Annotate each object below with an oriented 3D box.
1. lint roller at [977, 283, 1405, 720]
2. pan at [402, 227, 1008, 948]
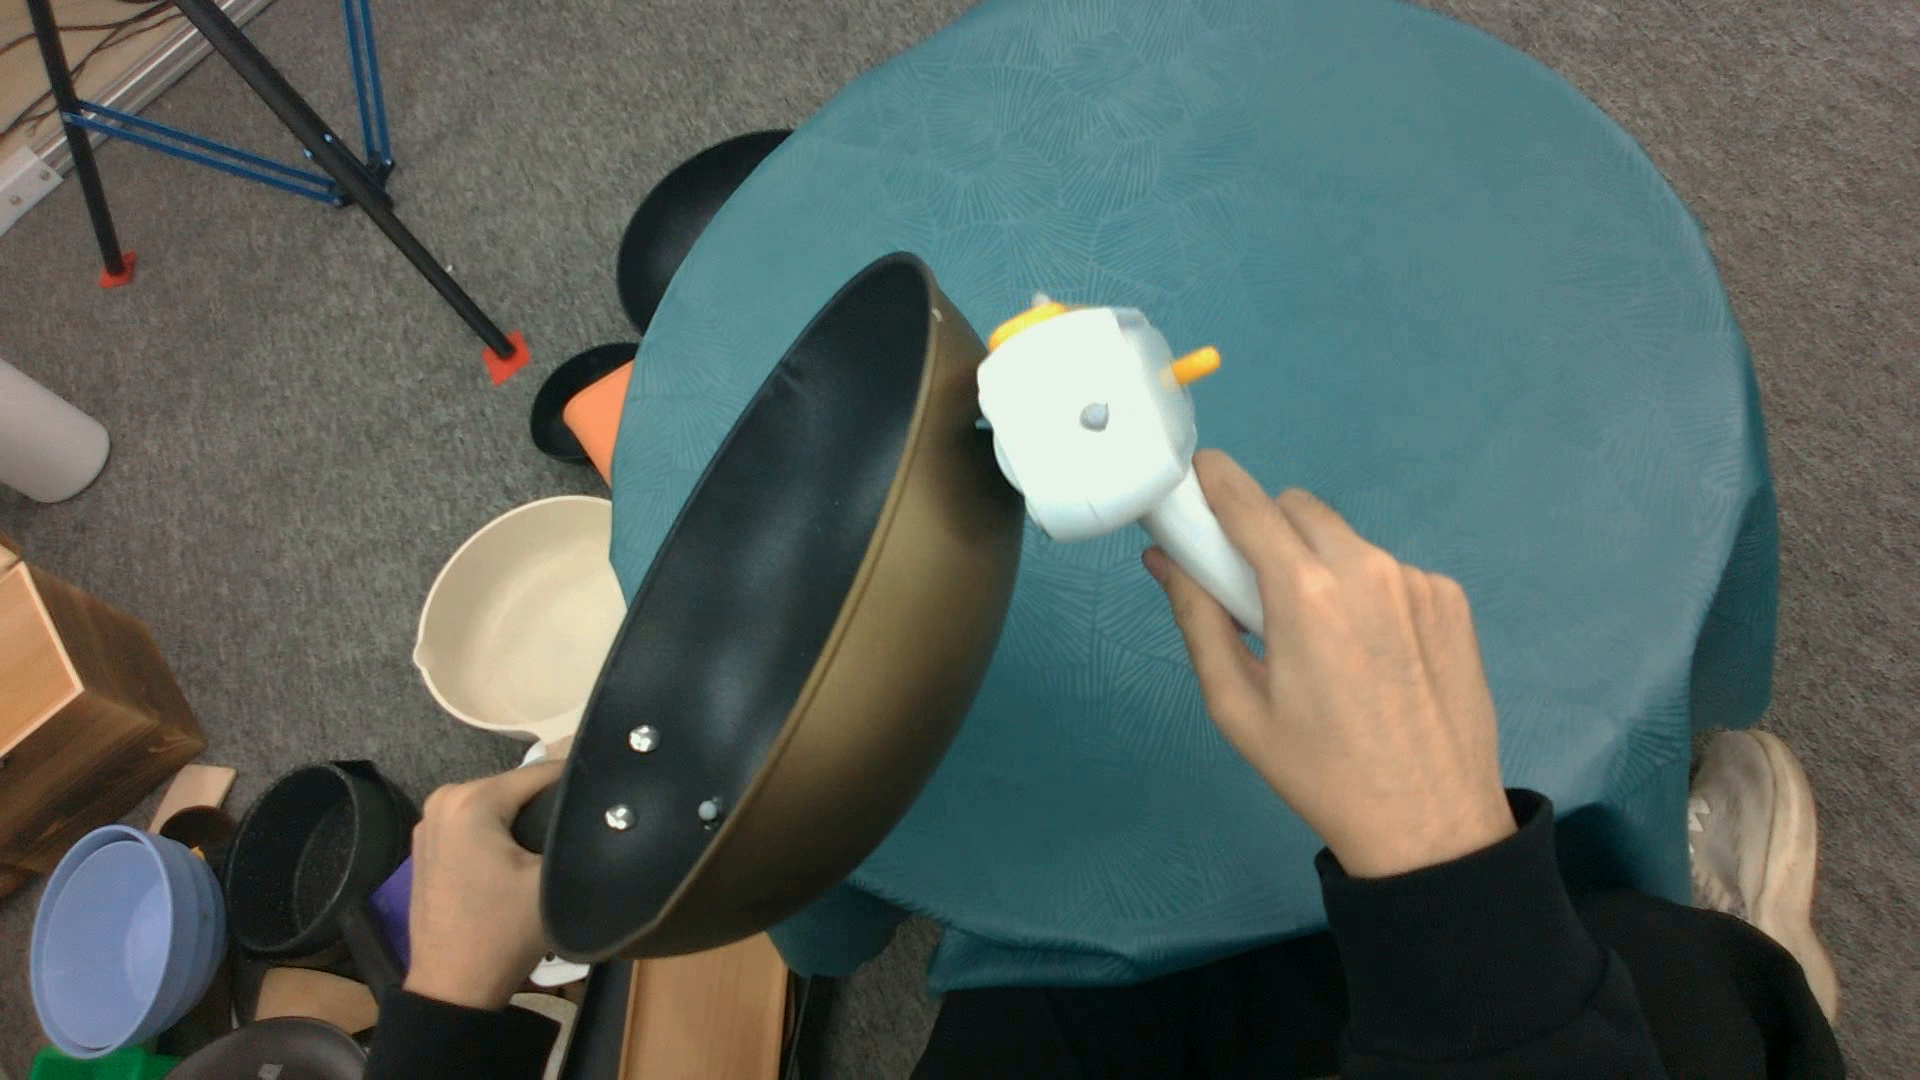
[{"bbox_3d":[0.082,-0.007,0.484,0.074,0.193,0.192,-34,96,9],"label":"lint roller"},{"bbox_3d":[-0.116,0.079,0.571,0.461,0.087,0.289,-46,28,34],"label":"pan"}]
